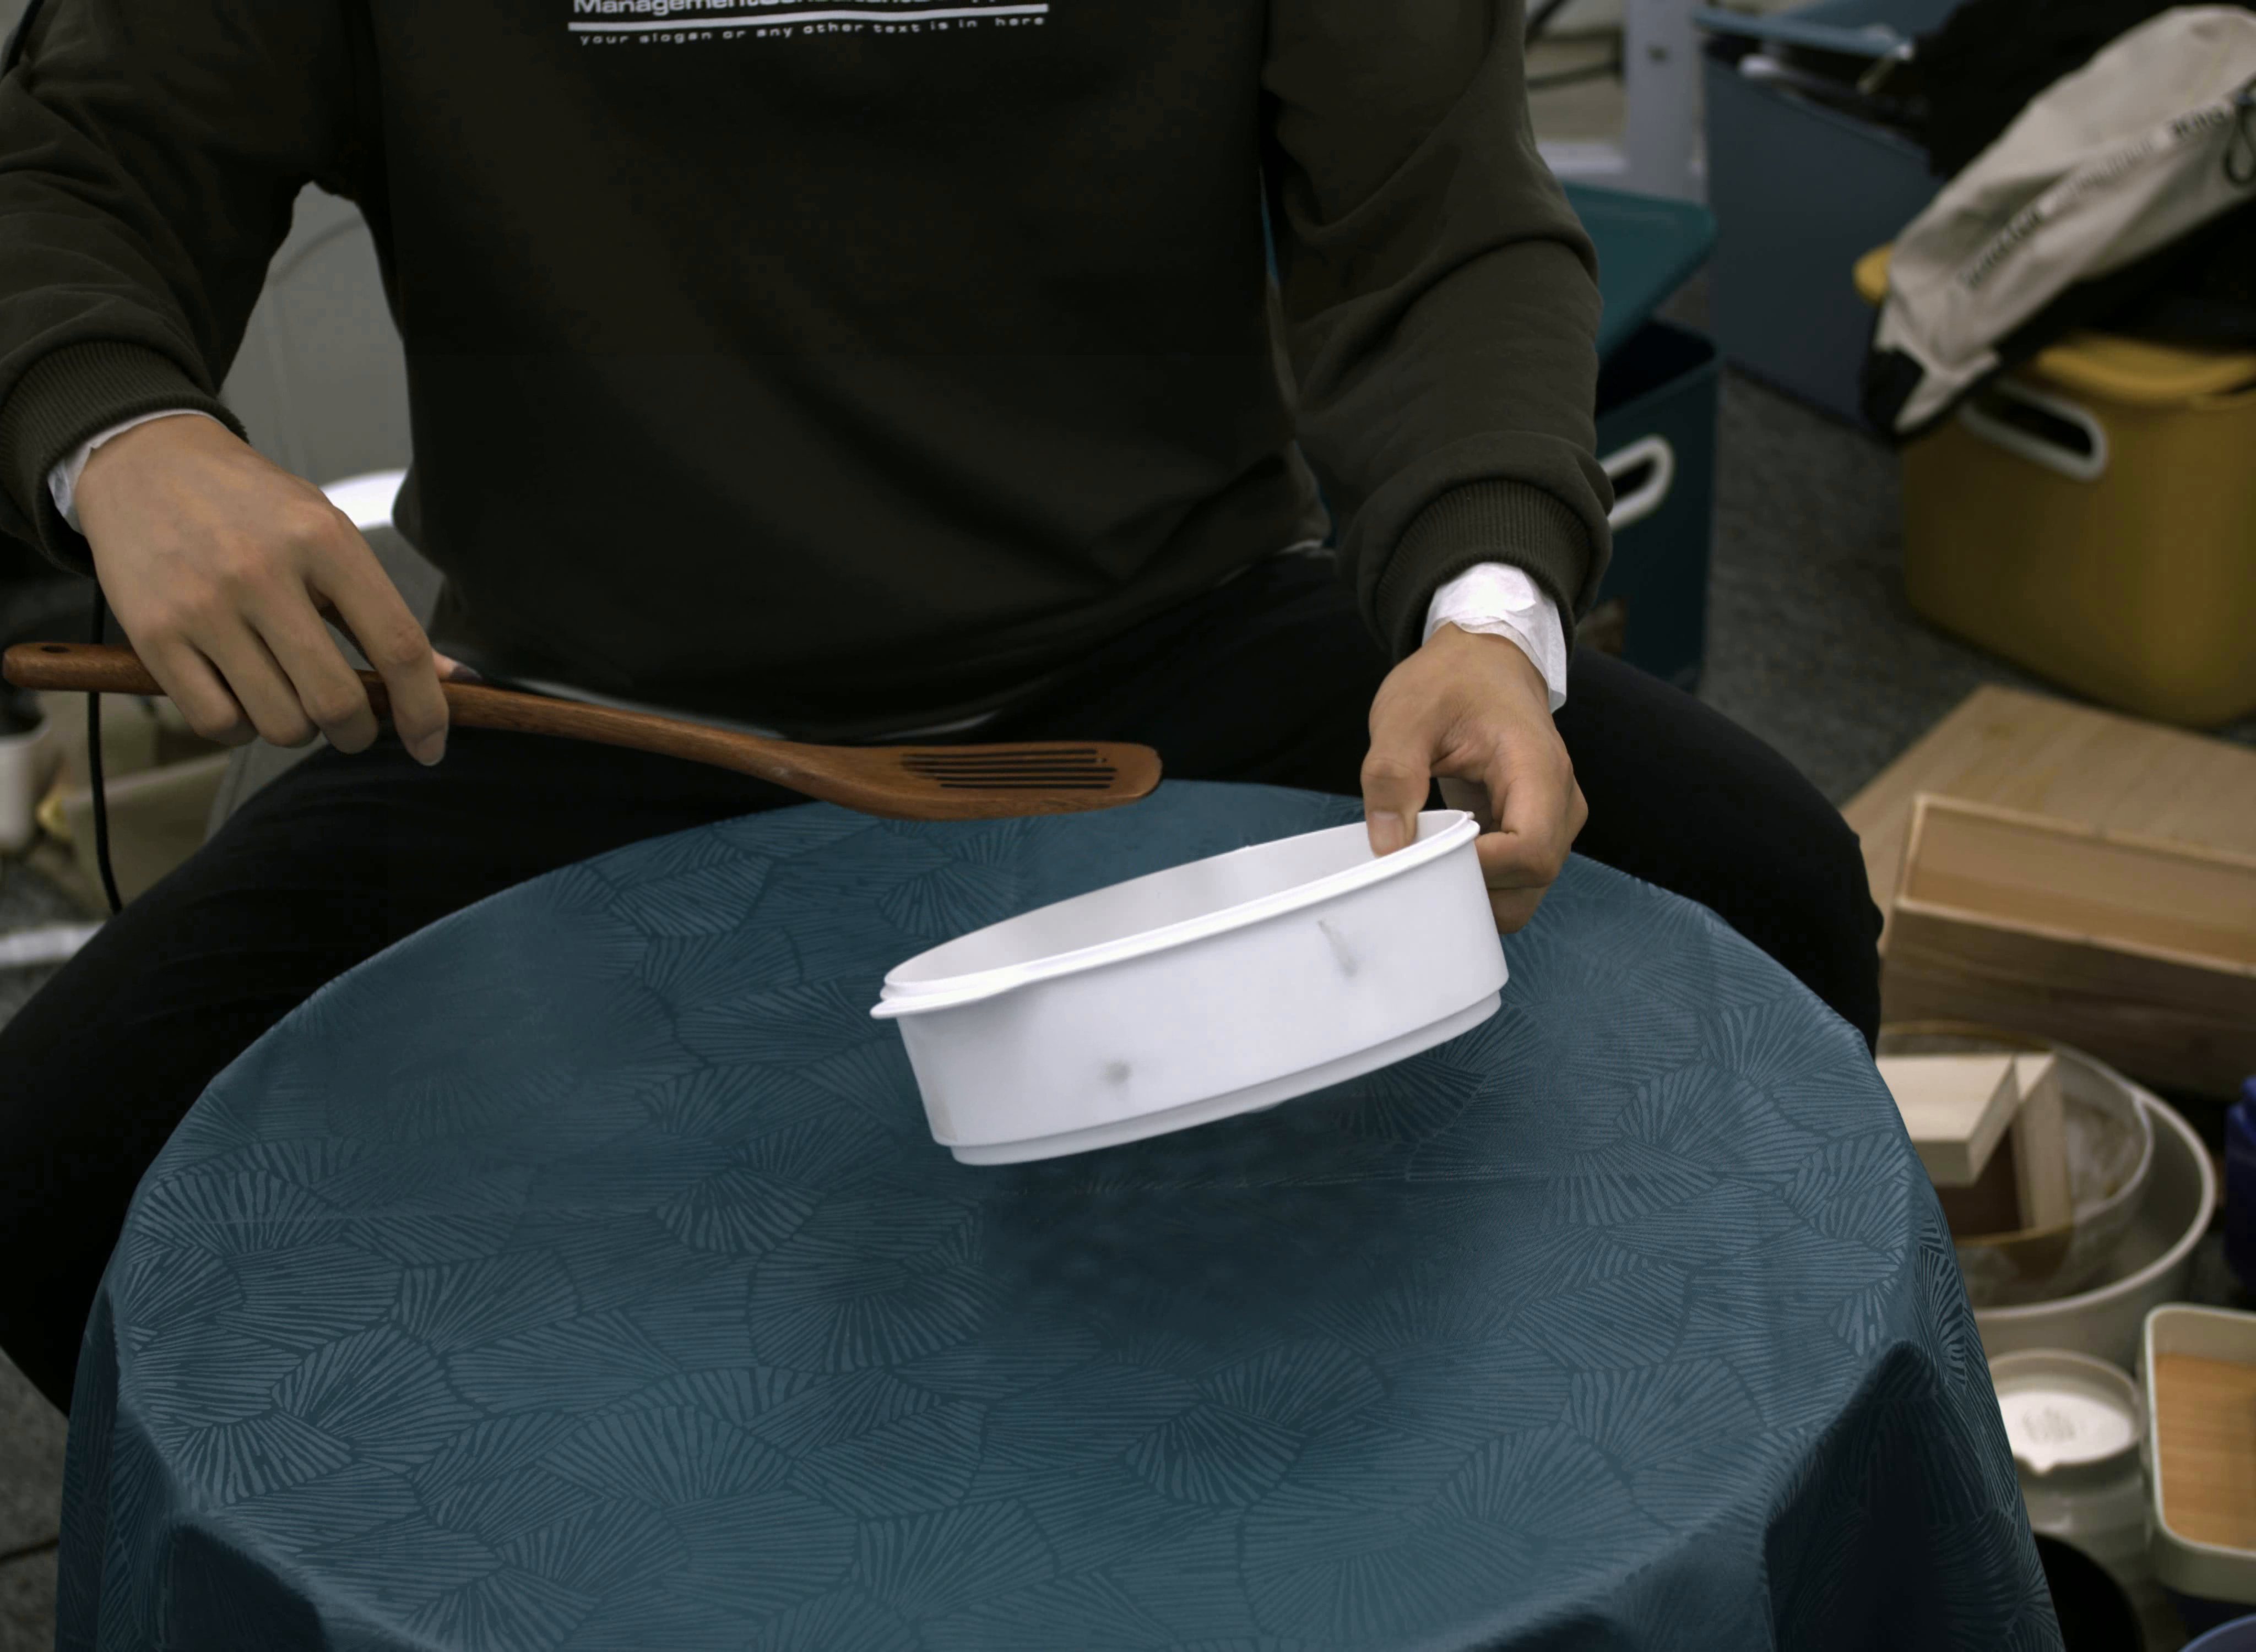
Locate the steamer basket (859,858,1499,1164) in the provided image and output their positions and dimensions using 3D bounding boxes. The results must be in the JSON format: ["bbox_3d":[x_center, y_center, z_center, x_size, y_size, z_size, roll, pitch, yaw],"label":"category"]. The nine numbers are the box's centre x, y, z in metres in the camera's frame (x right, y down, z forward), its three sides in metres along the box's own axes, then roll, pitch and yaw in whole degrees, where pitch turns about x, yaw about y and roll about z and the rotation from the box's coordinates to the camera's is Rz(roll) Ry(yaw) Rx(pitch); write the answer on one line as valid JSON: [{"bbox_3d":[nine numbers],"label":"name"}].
[{"bbox_3d":[0.021,0.061,1.810,0.232,0.069,0.199,-12,2,-38],"label":"steamer basket"}]

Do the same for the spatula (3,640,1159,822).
[{"bbox_3d":[-0.180,-0.031,1.875,0.384,0.023,0.086,7,15,-7],"label":"spatula"}]
